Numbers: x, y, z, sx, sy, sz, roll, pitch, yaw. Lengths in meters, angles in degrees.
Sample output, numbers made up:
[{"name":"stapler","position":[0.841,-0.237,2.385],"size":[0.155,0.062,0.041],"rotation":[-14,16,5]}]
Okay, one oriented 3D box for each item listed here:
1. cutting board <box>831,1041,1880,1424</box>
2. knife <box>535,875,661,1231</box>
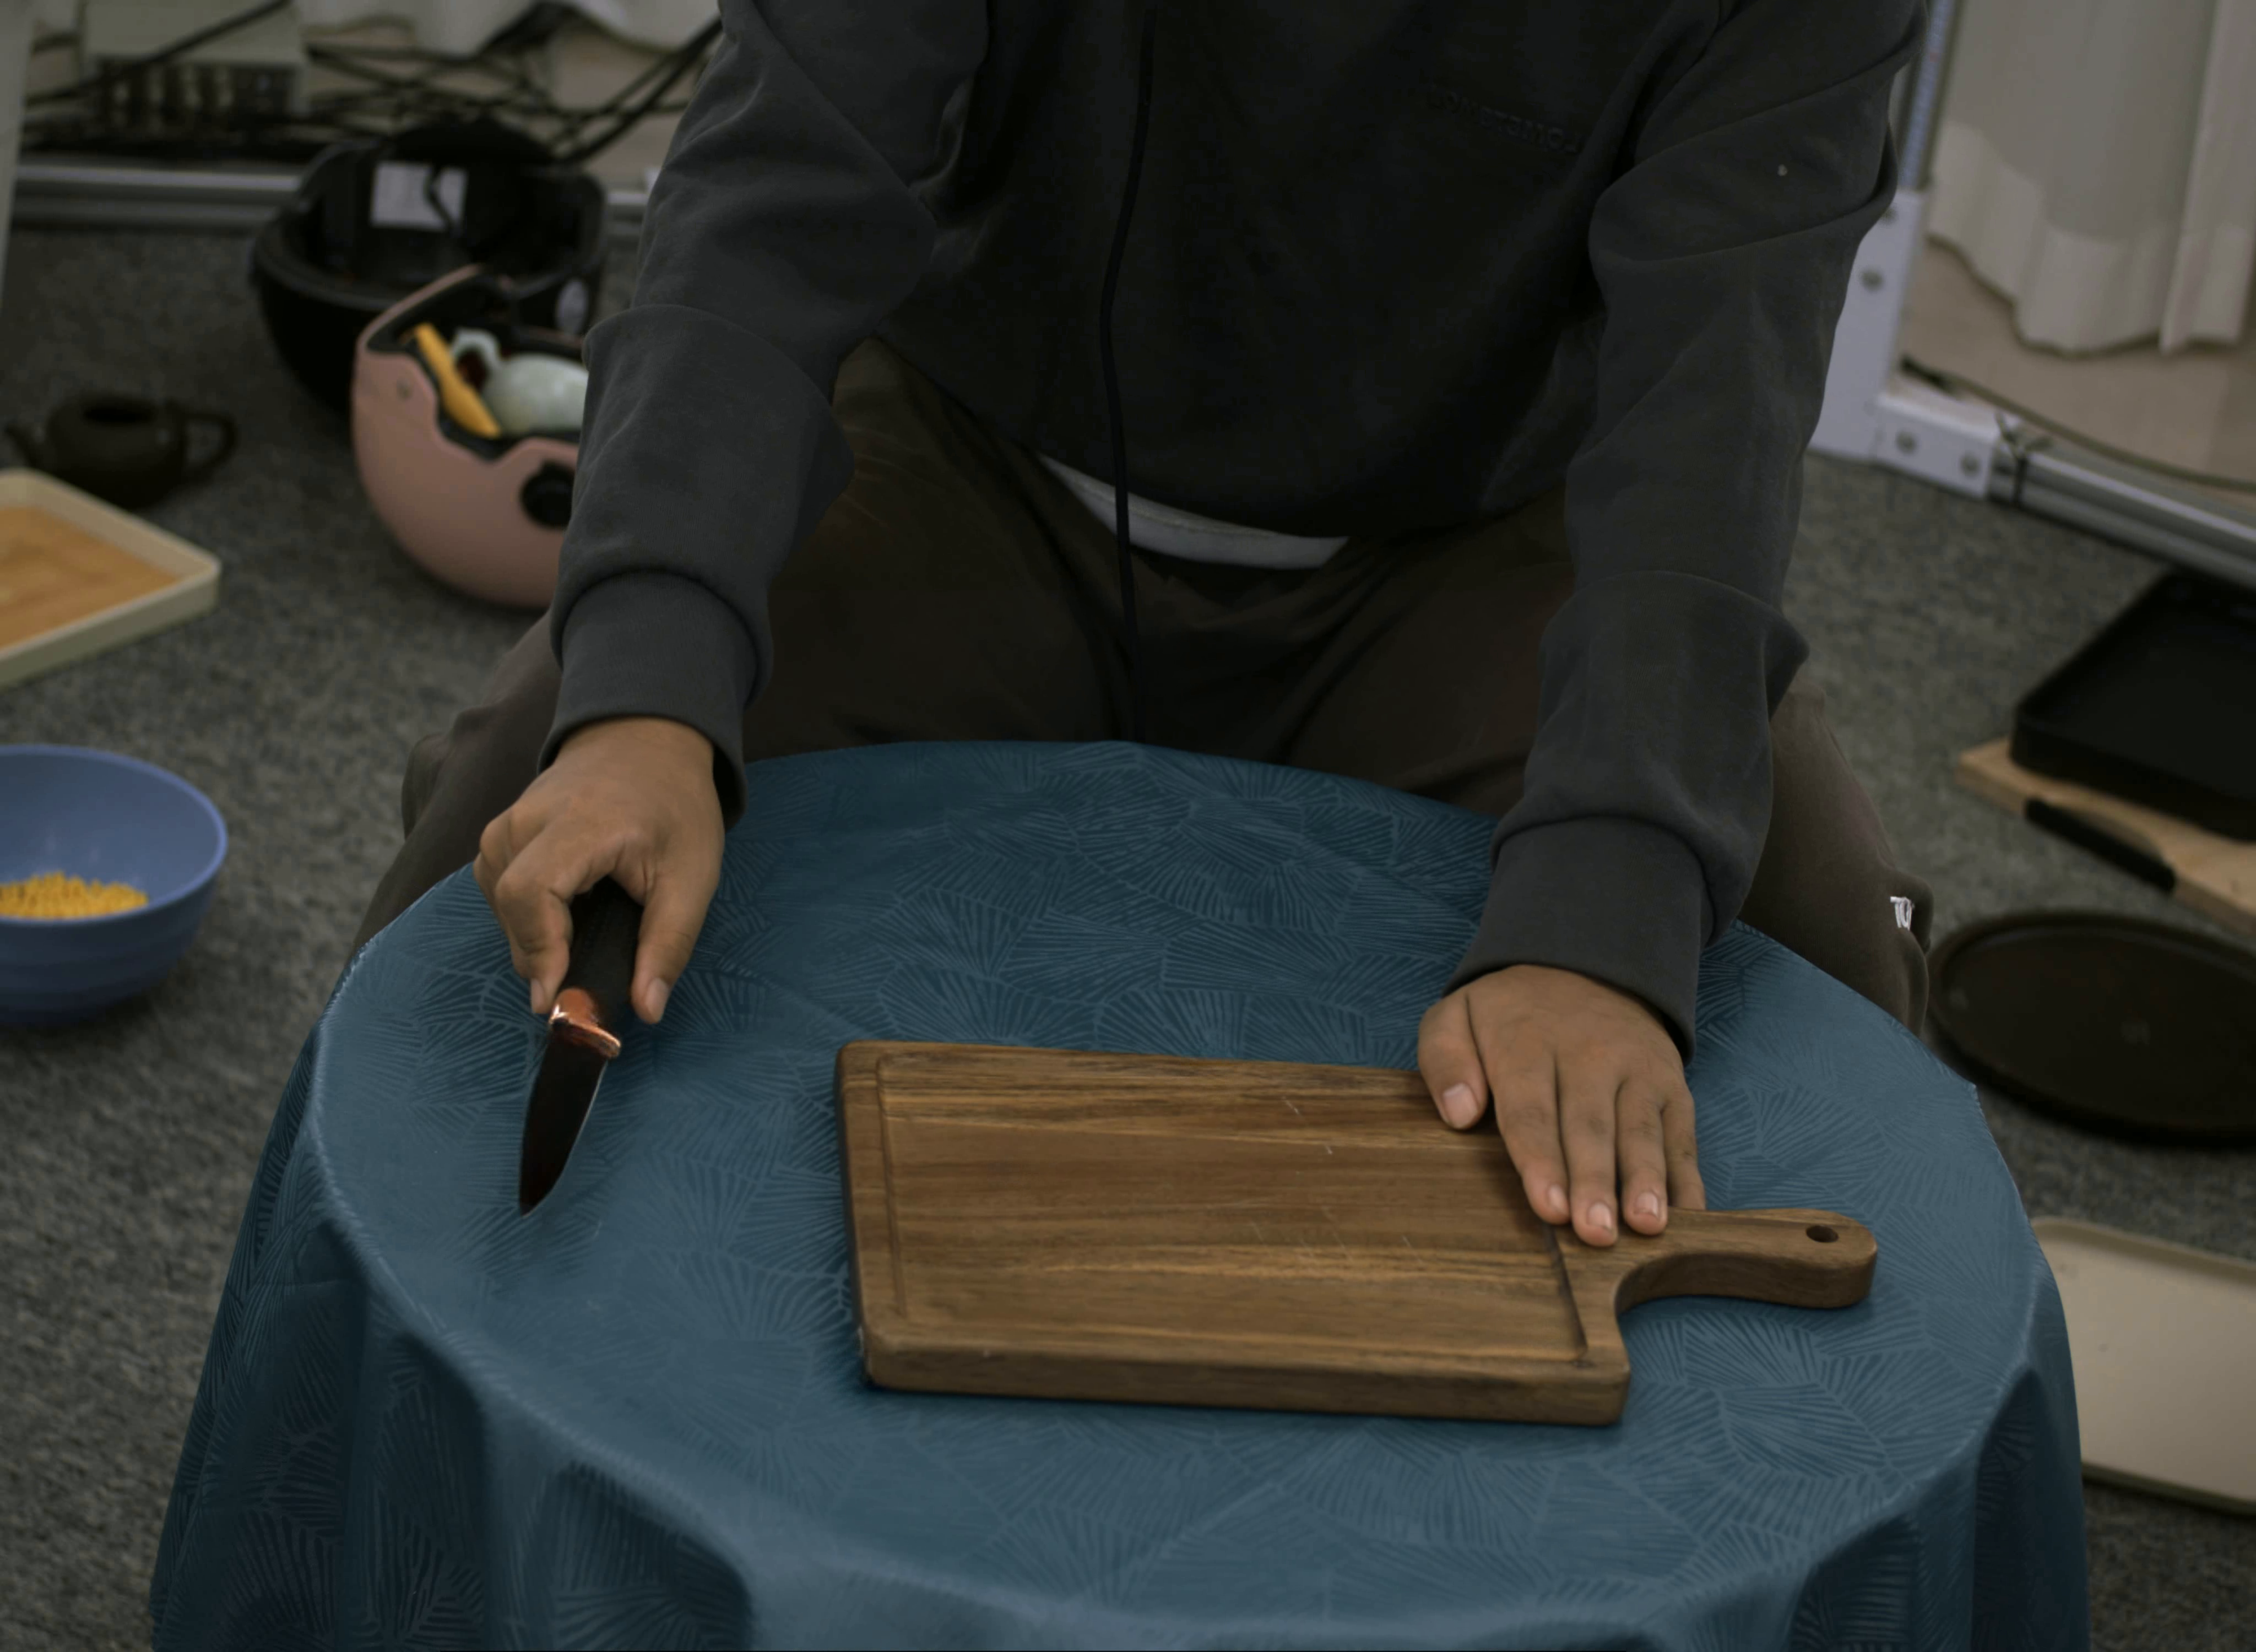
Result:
[{"name":"cutting board","position":[0.079,0.136,1.778],"size":[0.350,0.023,0.202],"rotation":[3,27,-7]},{"name":"knife","position":[-0.182,0.074,1.799],"size":[0.026,0.017,0.227],"rotation":[26,26,-9]}]
